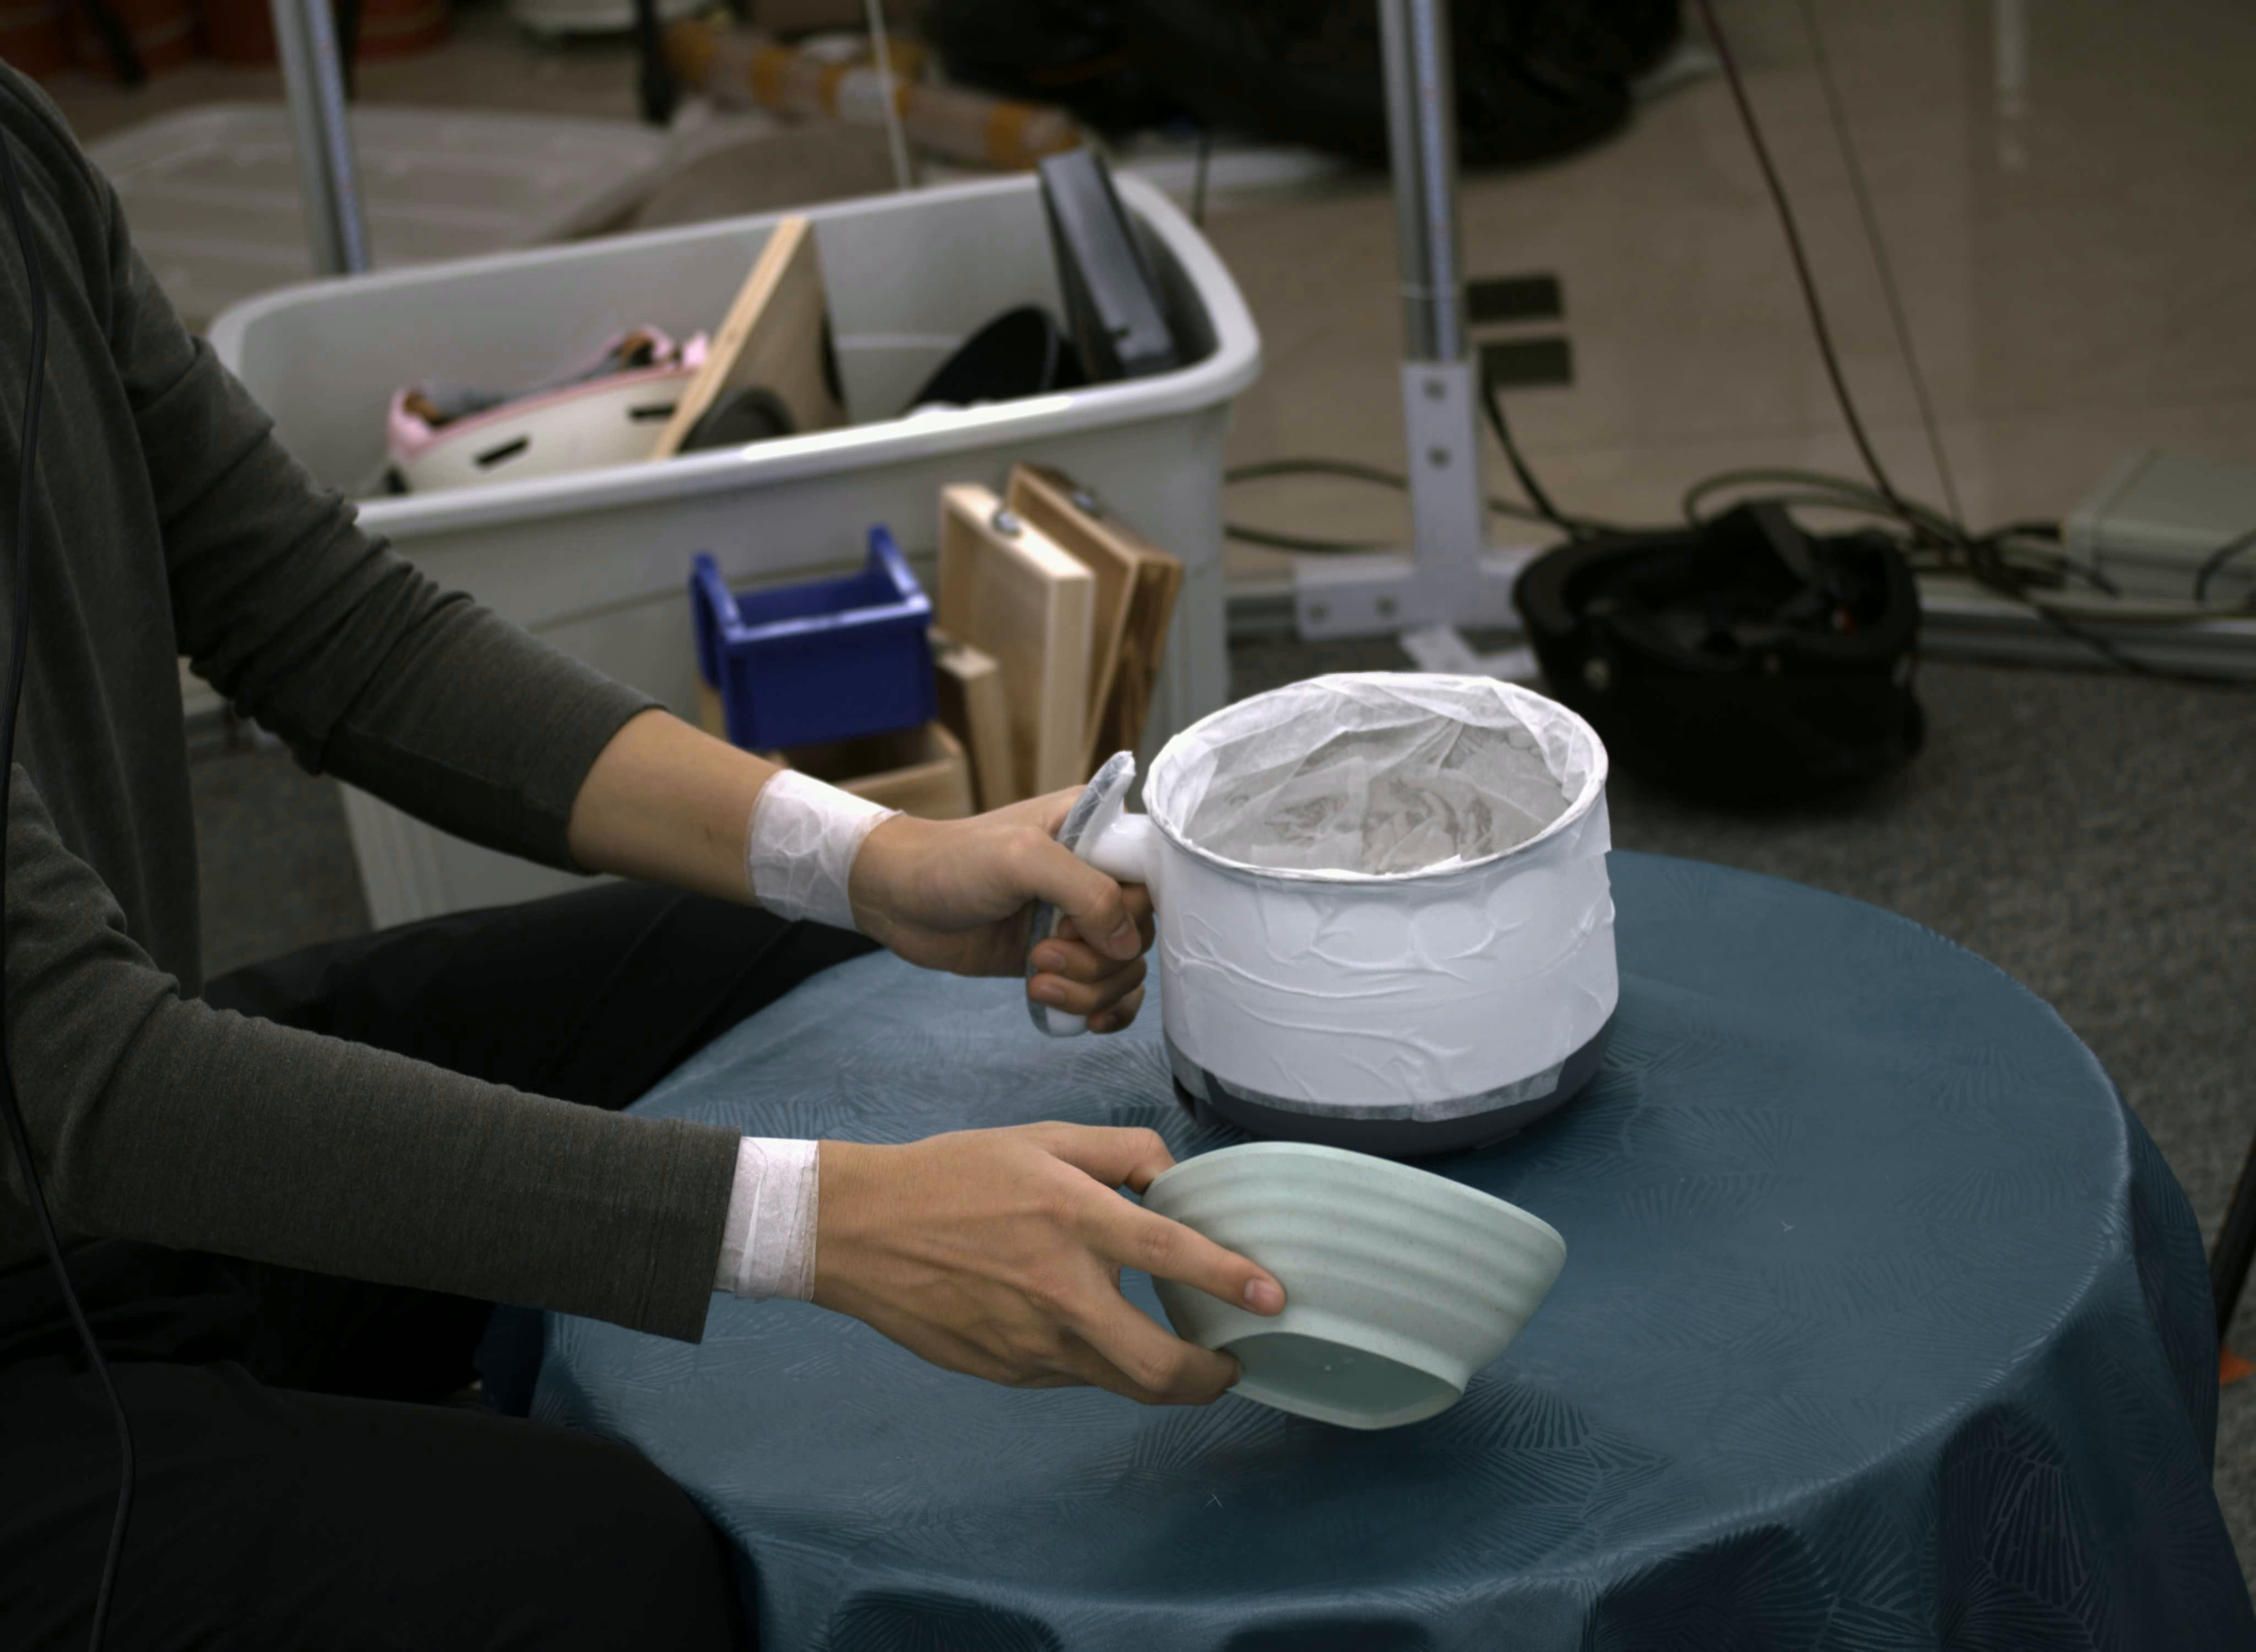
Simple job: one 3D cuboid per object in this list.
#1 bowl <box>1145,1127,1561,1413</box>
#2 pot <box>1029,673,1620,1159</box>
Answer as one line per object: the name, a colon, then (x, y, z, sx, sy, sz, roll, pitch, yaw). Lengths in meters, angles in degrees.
bowl: (0.069, 0.158, 1.937, 0.151, 0.153, 0.058, 8, 69, 28)
pot: (0.073, 0.036, 2.185, 0.233, 0.139, 0.176, 1, 28, 13)
